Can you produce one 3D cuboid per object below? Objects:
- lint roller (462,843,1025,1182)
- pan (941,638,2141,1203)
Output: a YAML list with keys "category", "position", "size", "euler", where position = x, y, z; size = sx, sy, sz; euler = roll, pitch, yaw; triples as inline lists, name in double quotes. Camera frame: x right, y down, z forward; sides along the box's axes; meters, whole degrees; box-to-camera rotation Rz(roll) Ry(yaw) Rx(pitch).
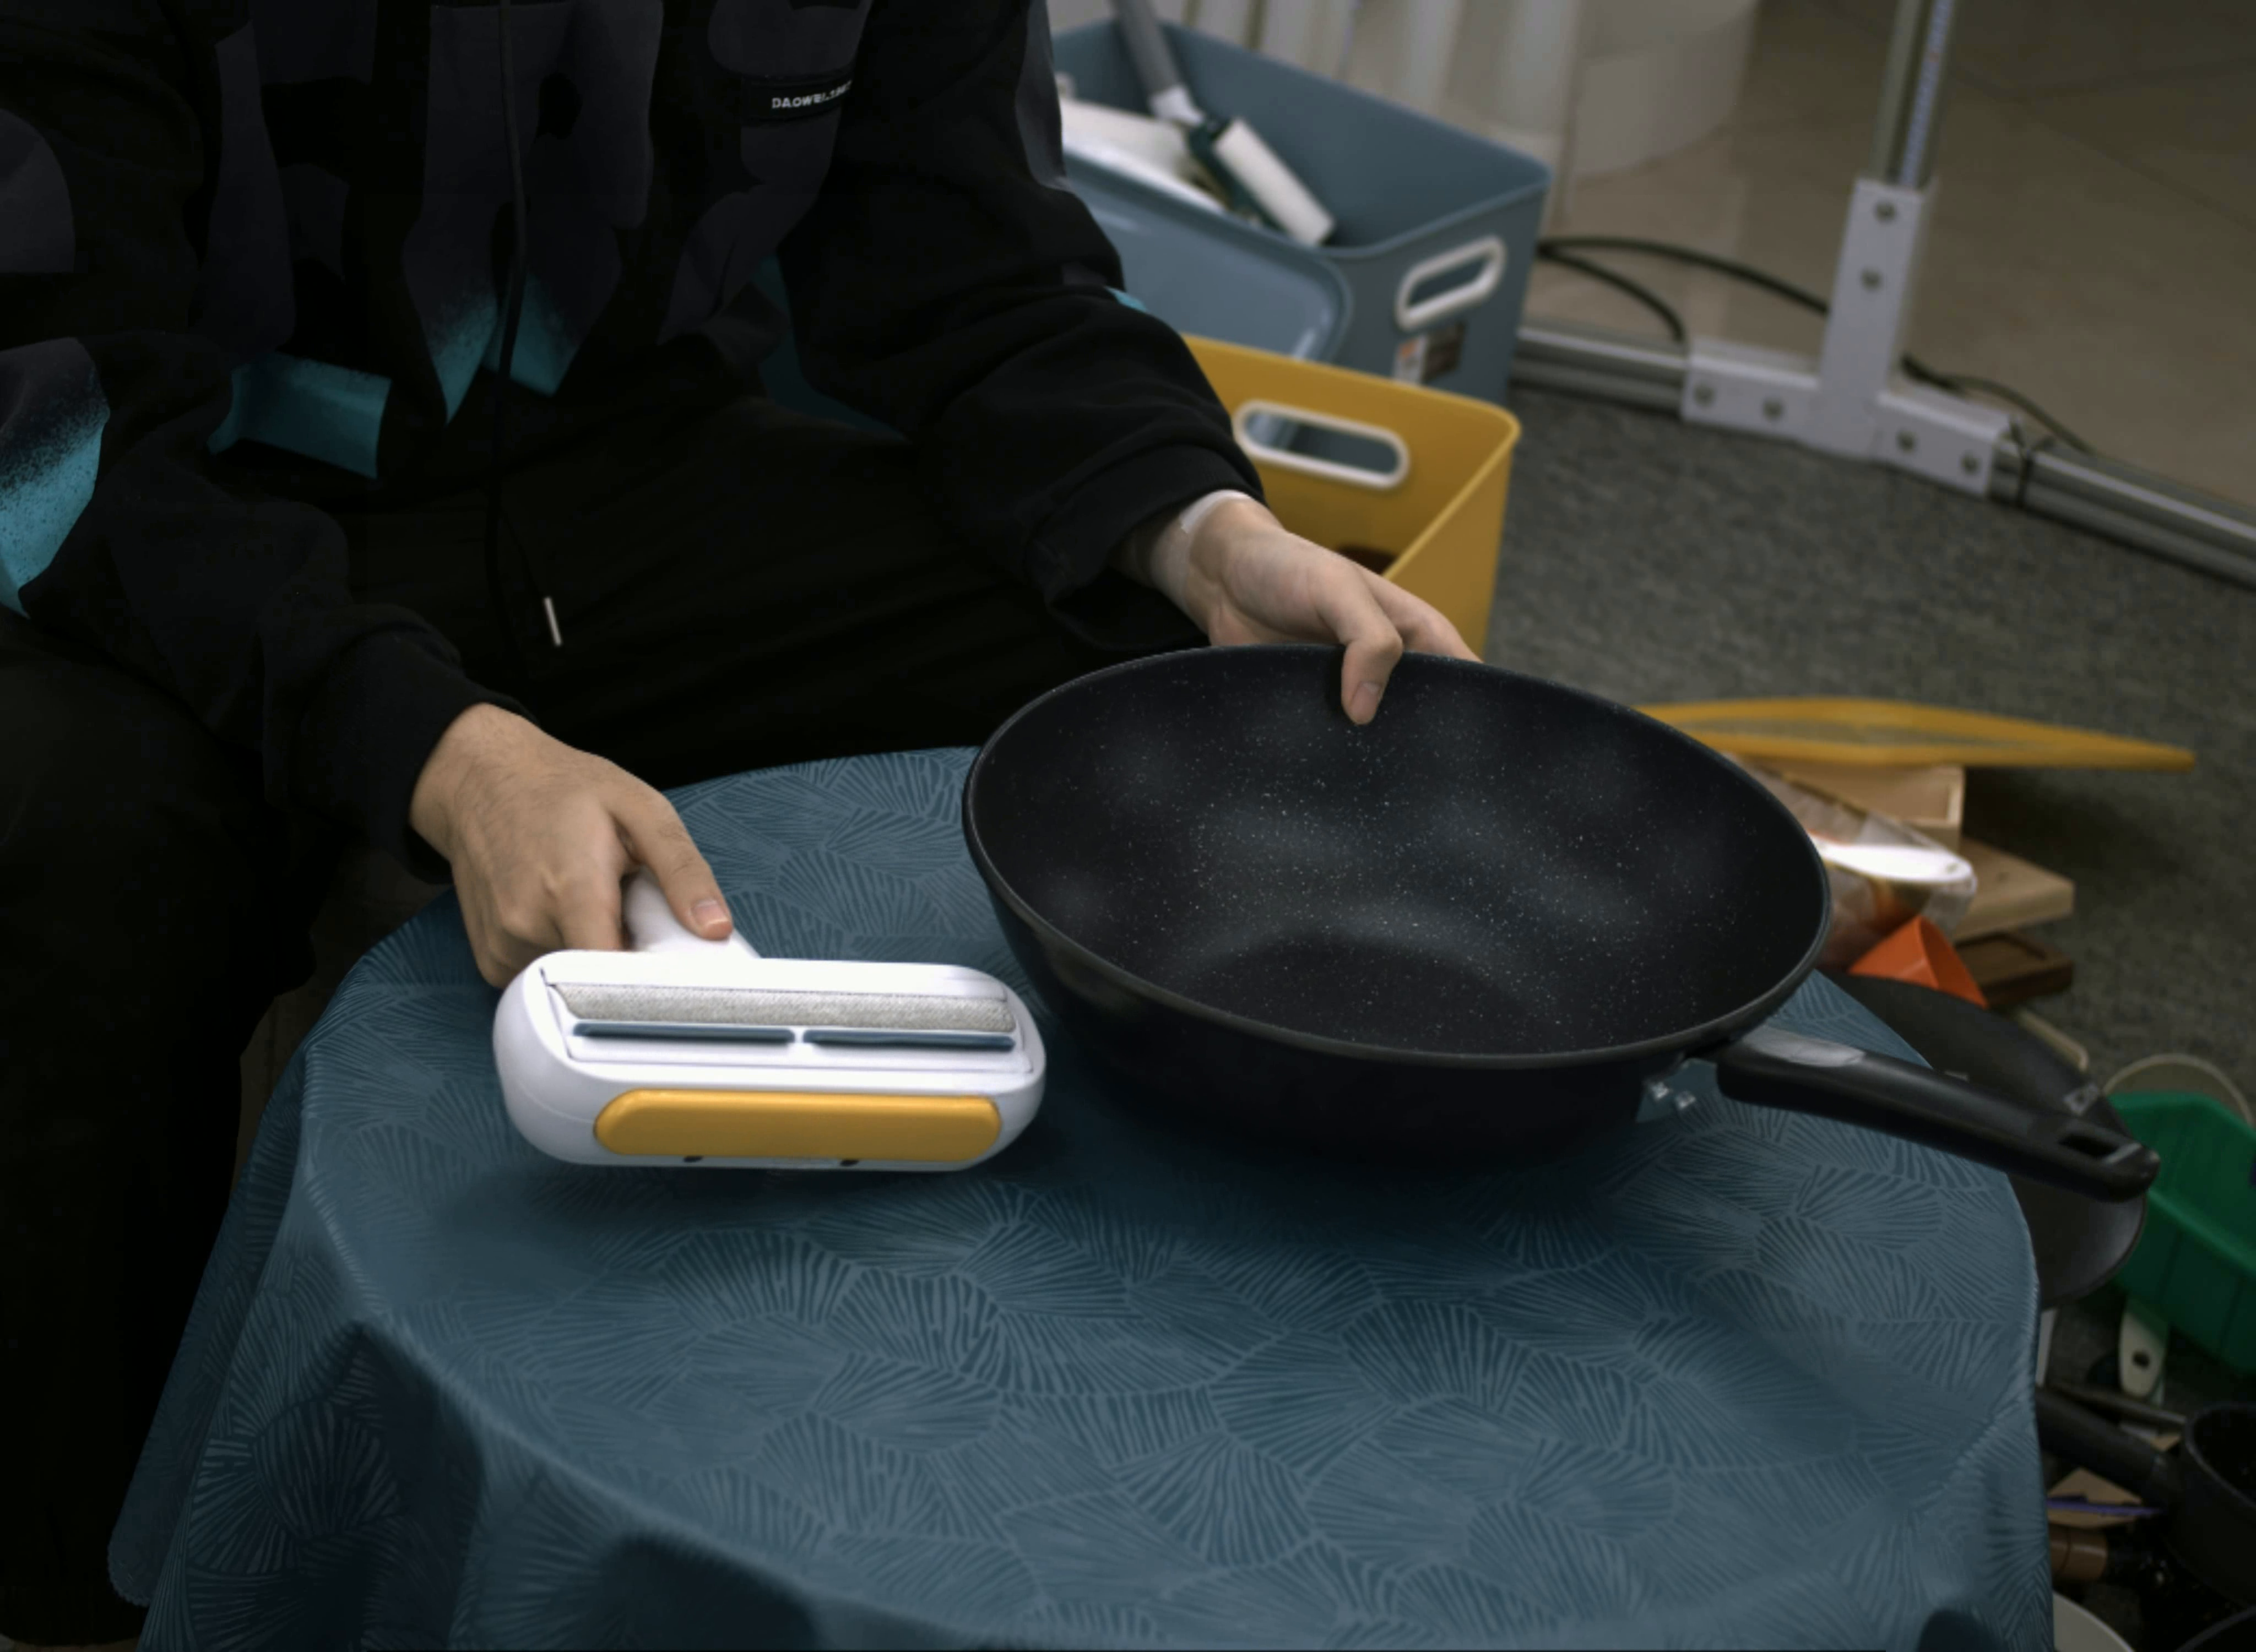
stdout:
- category: "lint roller"
  position: [-0.145, 0.051, 1.816]
  size: [0.191, 0.074, 0.194]
  euler: [2, 34, -22]
- category: "pan"
  position: [0.144, 0.062, 1.834]
  size: [0.309, 0.111, 0.480]
  euler: [-21, 37, -40]
